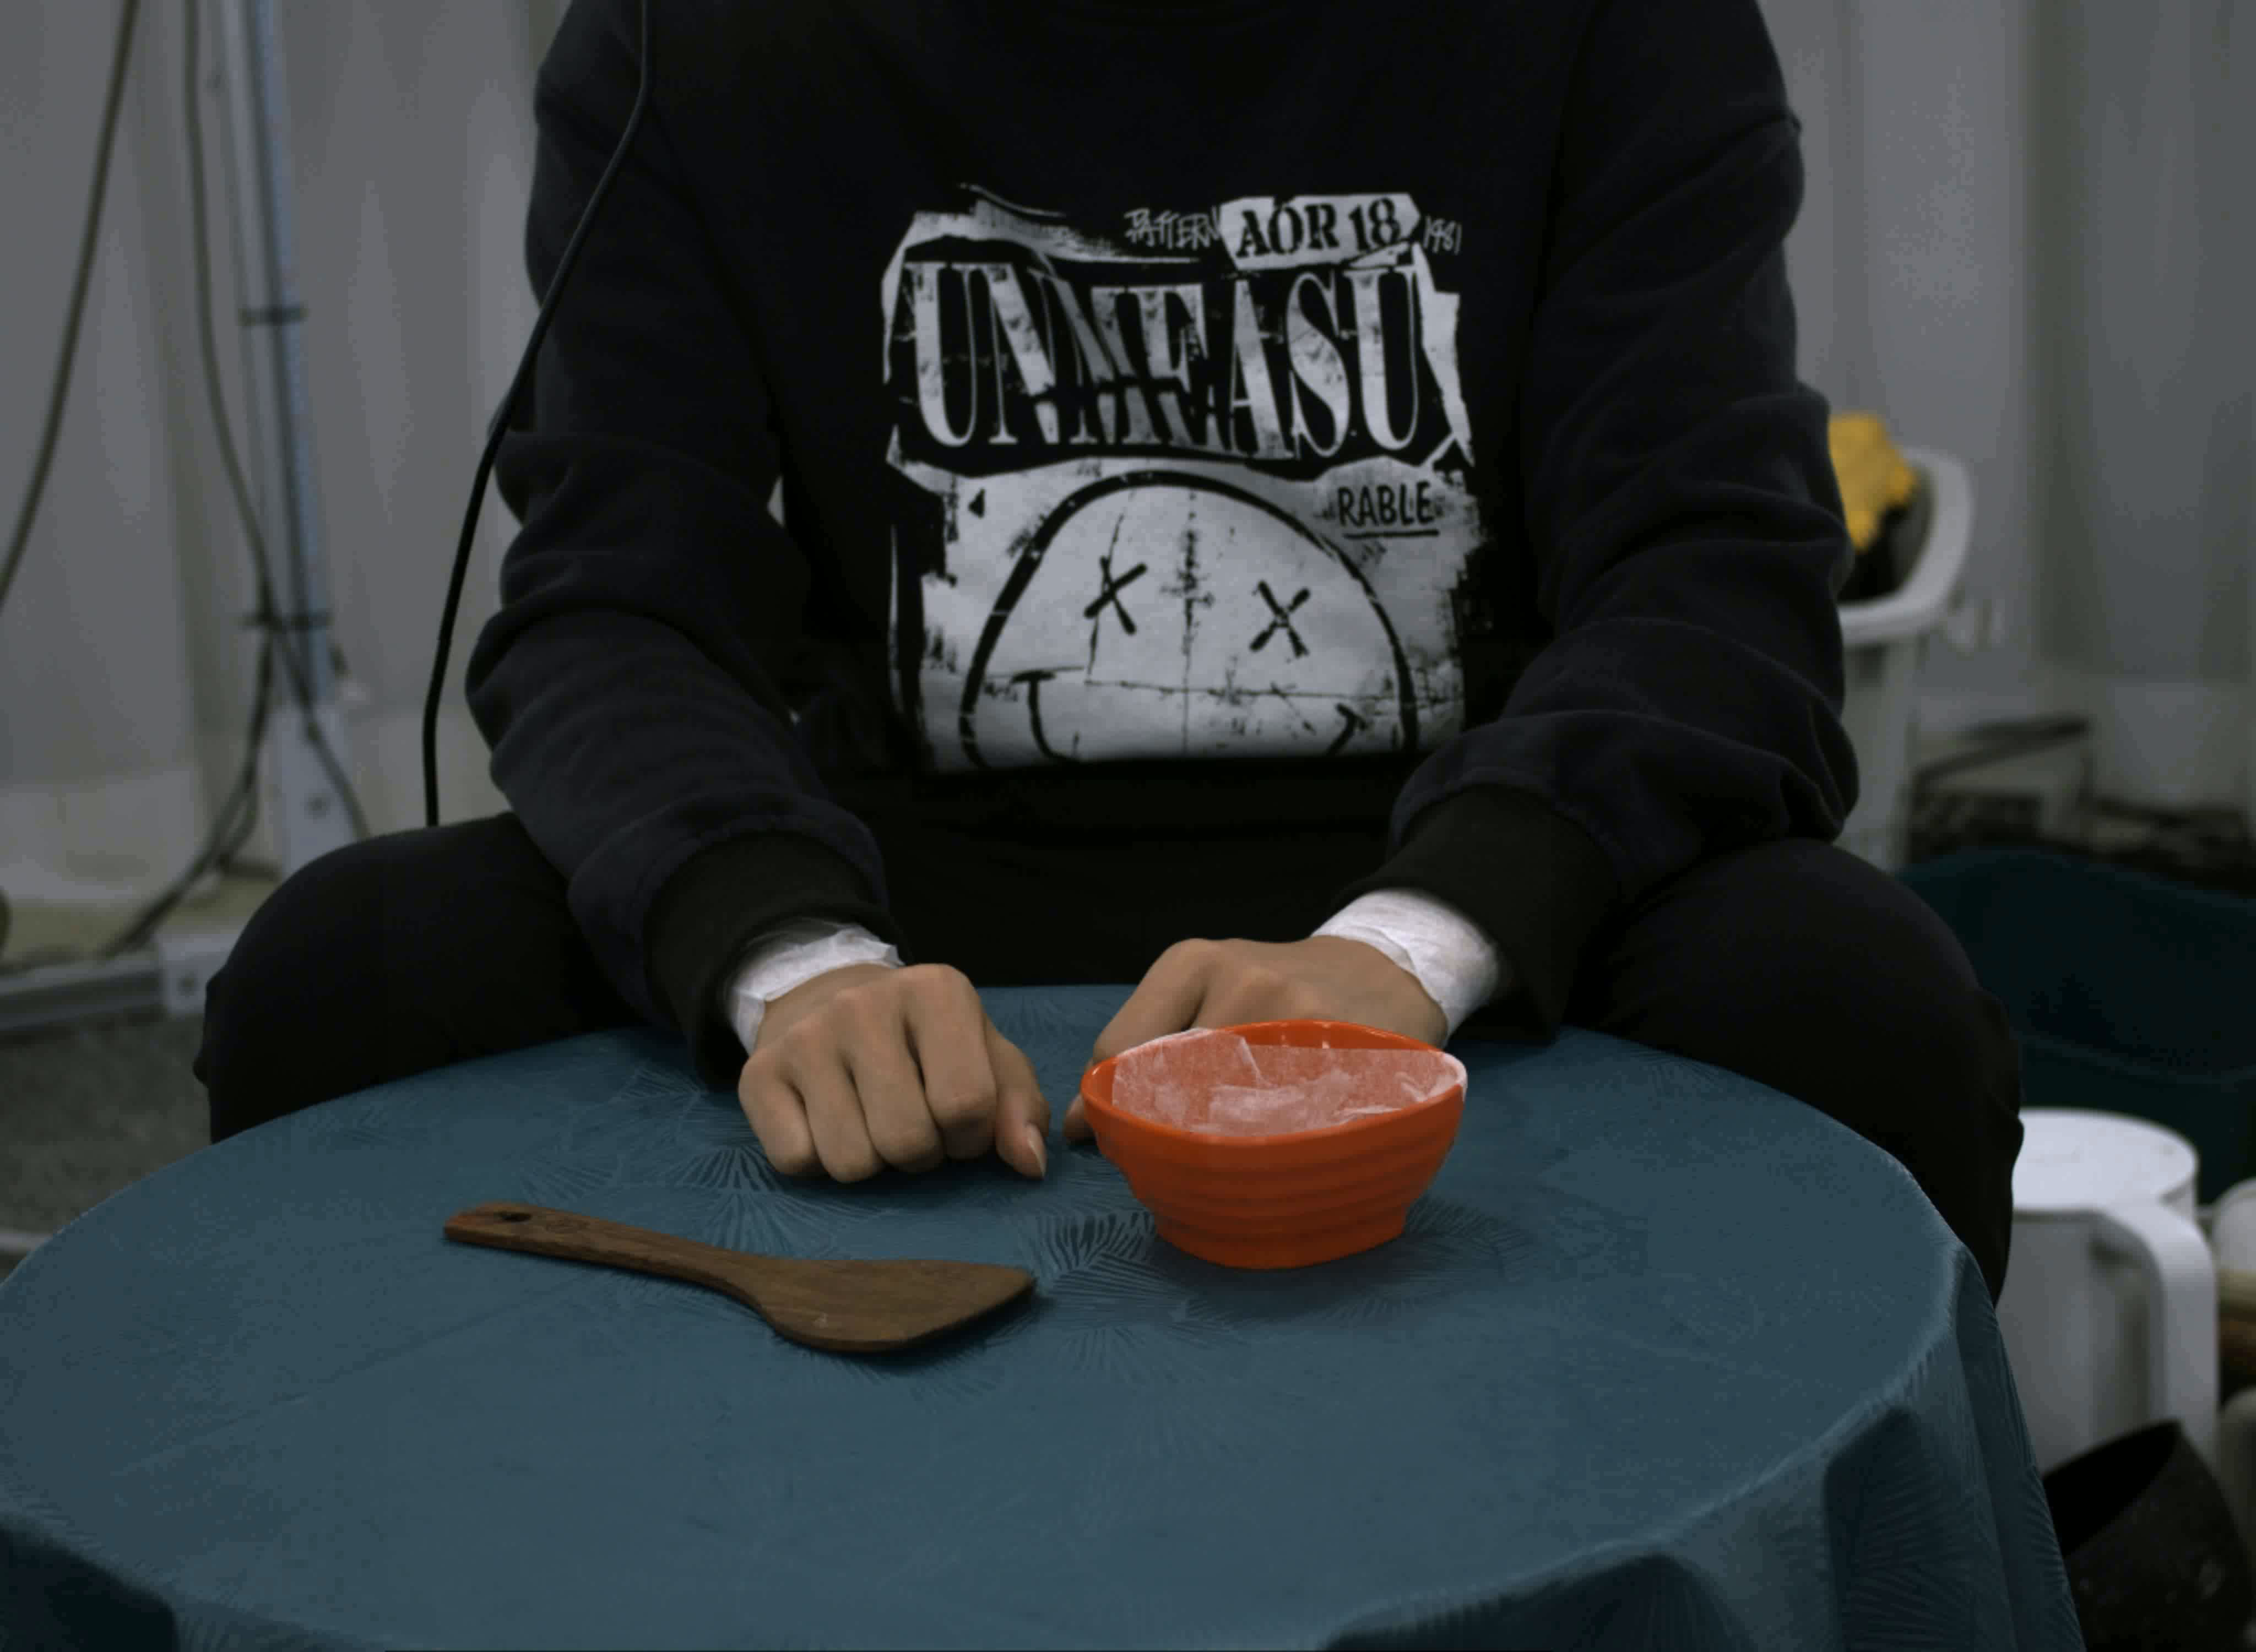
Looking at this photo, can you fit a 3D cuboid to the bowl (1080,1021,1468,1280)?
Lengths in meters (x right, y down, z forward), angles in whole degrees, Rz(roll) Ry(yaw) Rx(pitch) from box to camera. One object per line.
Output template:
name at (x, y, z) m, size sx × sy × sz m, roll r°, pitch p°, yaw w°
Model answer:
bowl at (0.046, 0.101, 1.665) m, size 0.118 × 0.051 × 0.120 m, roll -4°, pitch 16°, yaw 1°

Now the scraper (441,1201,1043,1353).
scraper at (-0.124, 0.134, 1.653) m, size 0.212 × 0.011 × 0.076 m, roll 7°, pitch 17°, yaw 36°
